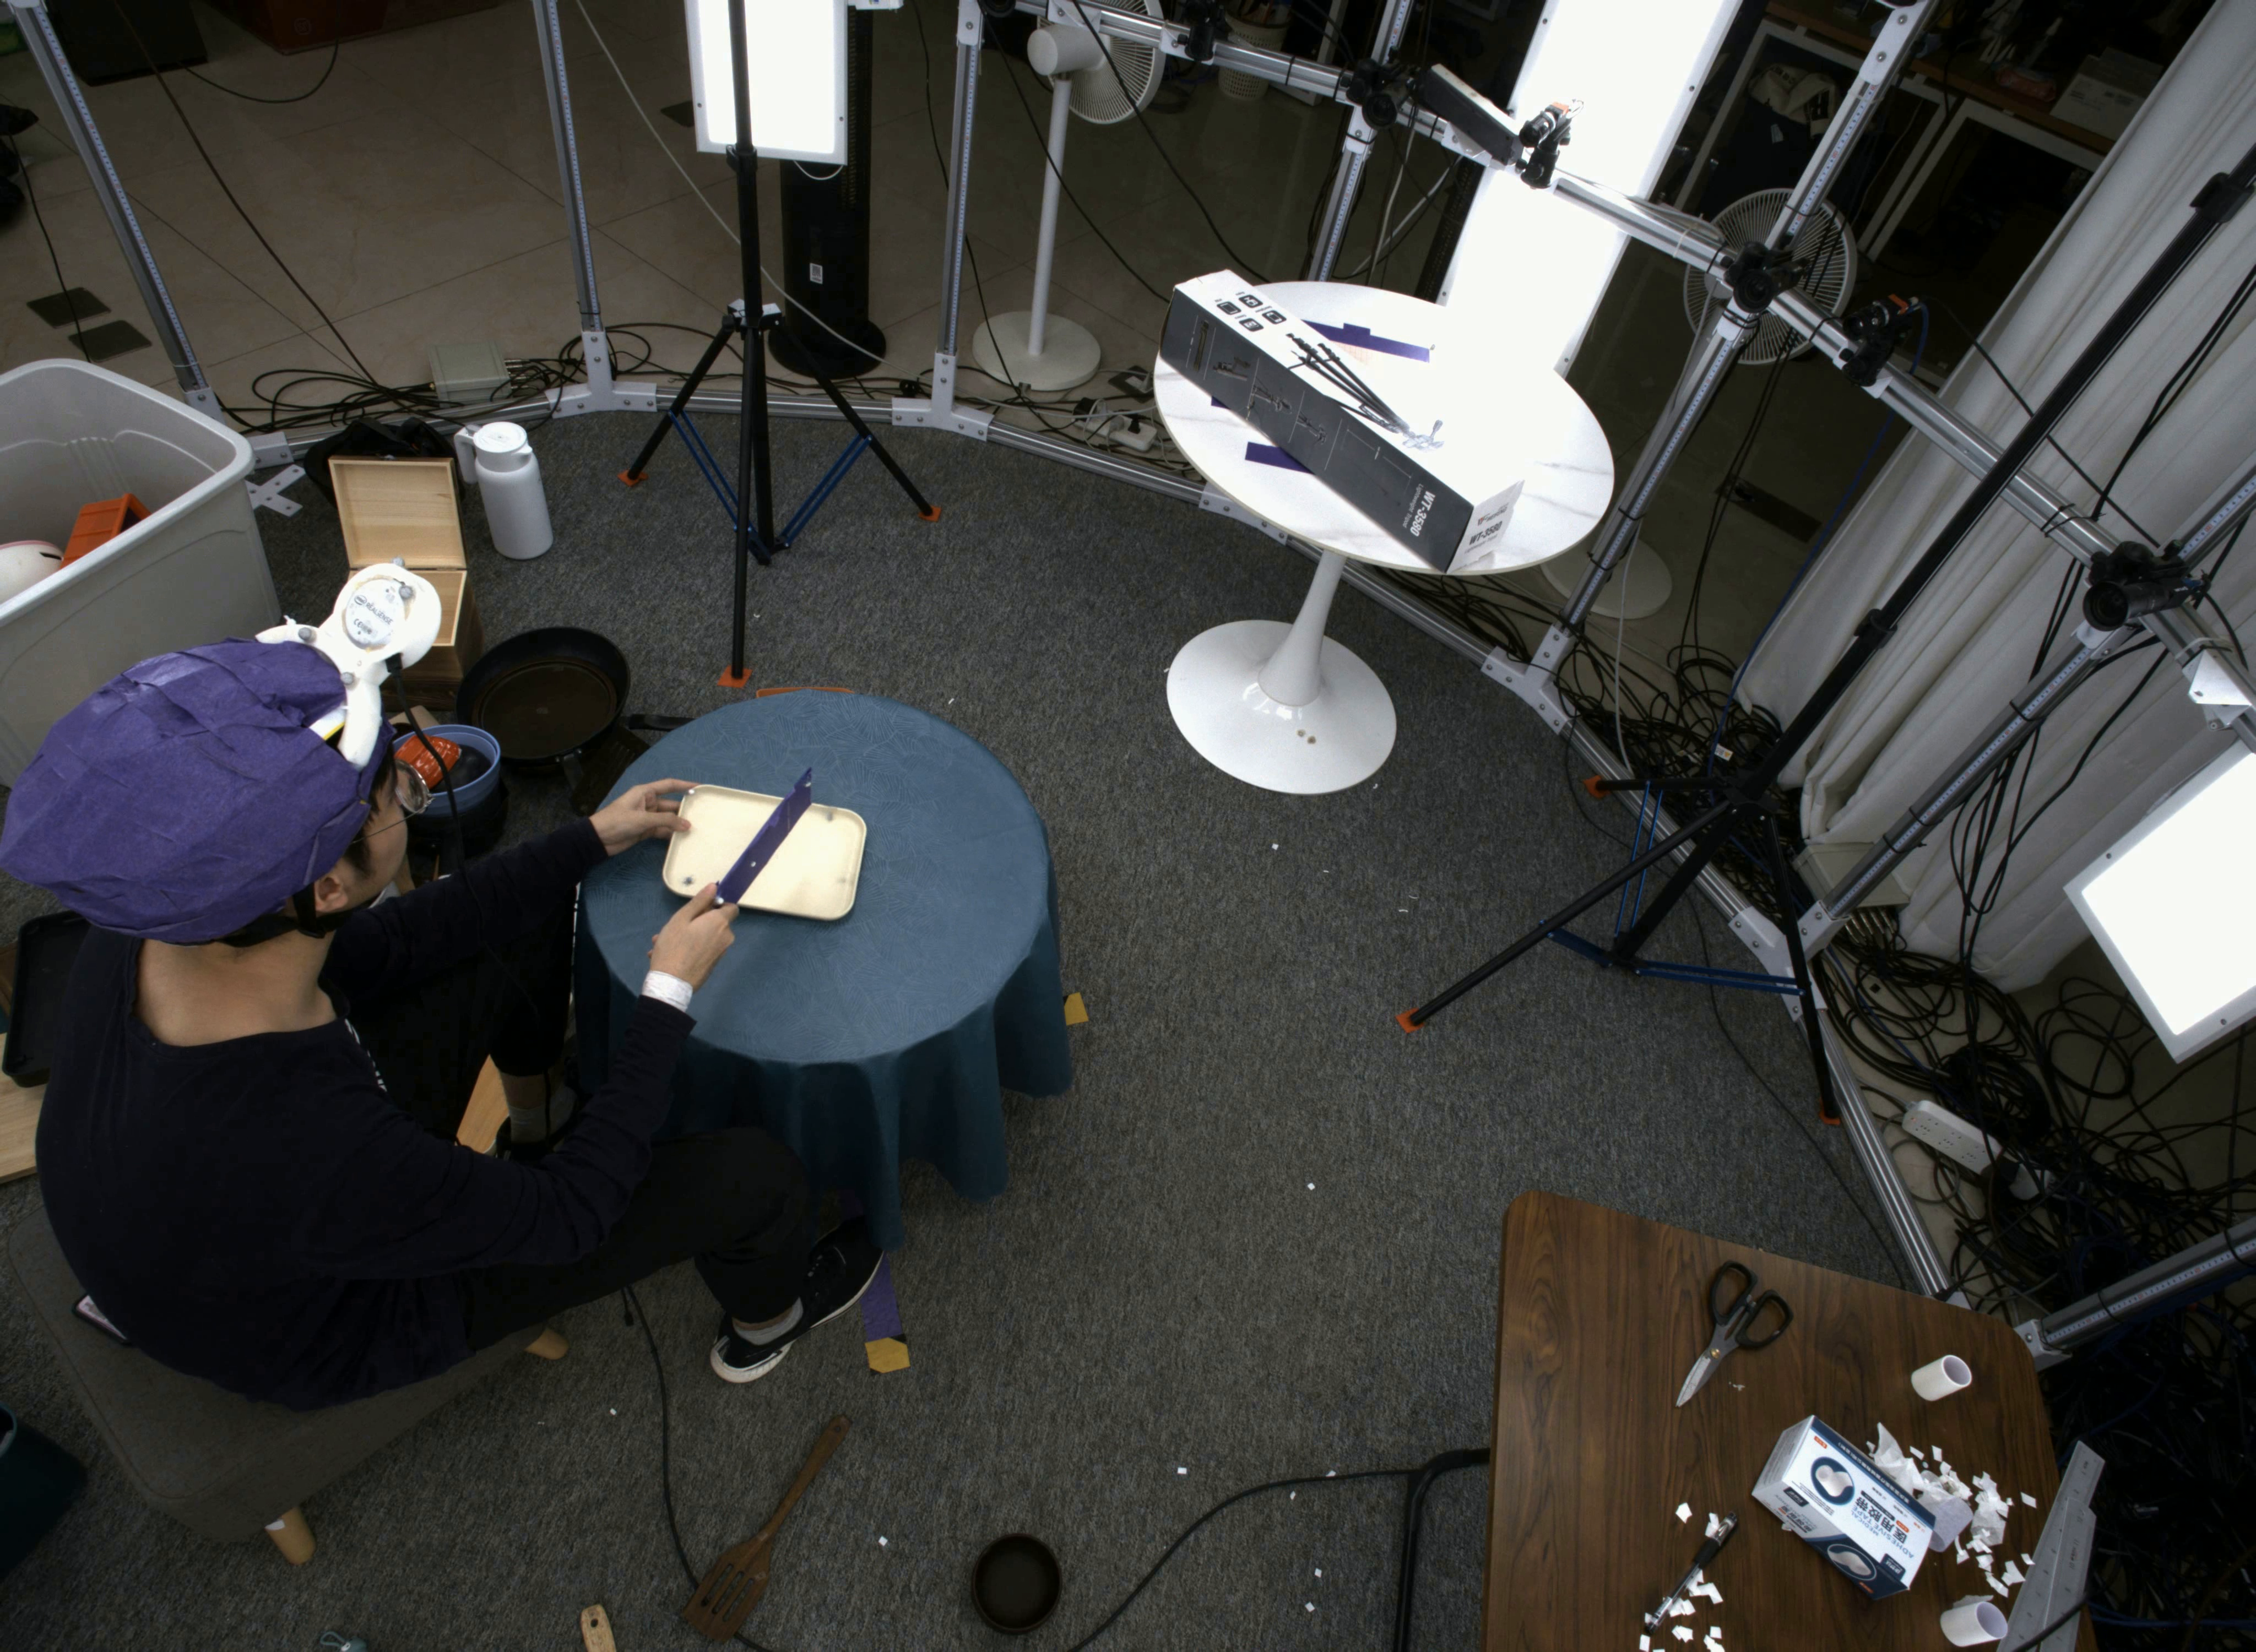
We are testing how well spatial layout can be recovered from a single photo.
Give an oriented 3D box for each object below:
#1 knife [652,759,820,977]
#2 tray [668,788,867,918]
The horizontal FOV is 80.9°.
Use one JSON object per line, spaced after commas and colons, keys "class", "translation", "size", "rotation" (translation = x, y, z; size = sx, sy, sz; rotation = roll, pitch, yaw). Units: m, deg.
{"class": "knife", "translation": [-0.446, 0.058, 1.508], "size": [0.032, 0.105, 0.313], "rotation": [27, 57, 6]}
{"class": "tray", "translation": [-0.463, 0.034, 1.674], "size": [0.241, 0.018, 0.168], "rotation": [9, 55, -15]}
